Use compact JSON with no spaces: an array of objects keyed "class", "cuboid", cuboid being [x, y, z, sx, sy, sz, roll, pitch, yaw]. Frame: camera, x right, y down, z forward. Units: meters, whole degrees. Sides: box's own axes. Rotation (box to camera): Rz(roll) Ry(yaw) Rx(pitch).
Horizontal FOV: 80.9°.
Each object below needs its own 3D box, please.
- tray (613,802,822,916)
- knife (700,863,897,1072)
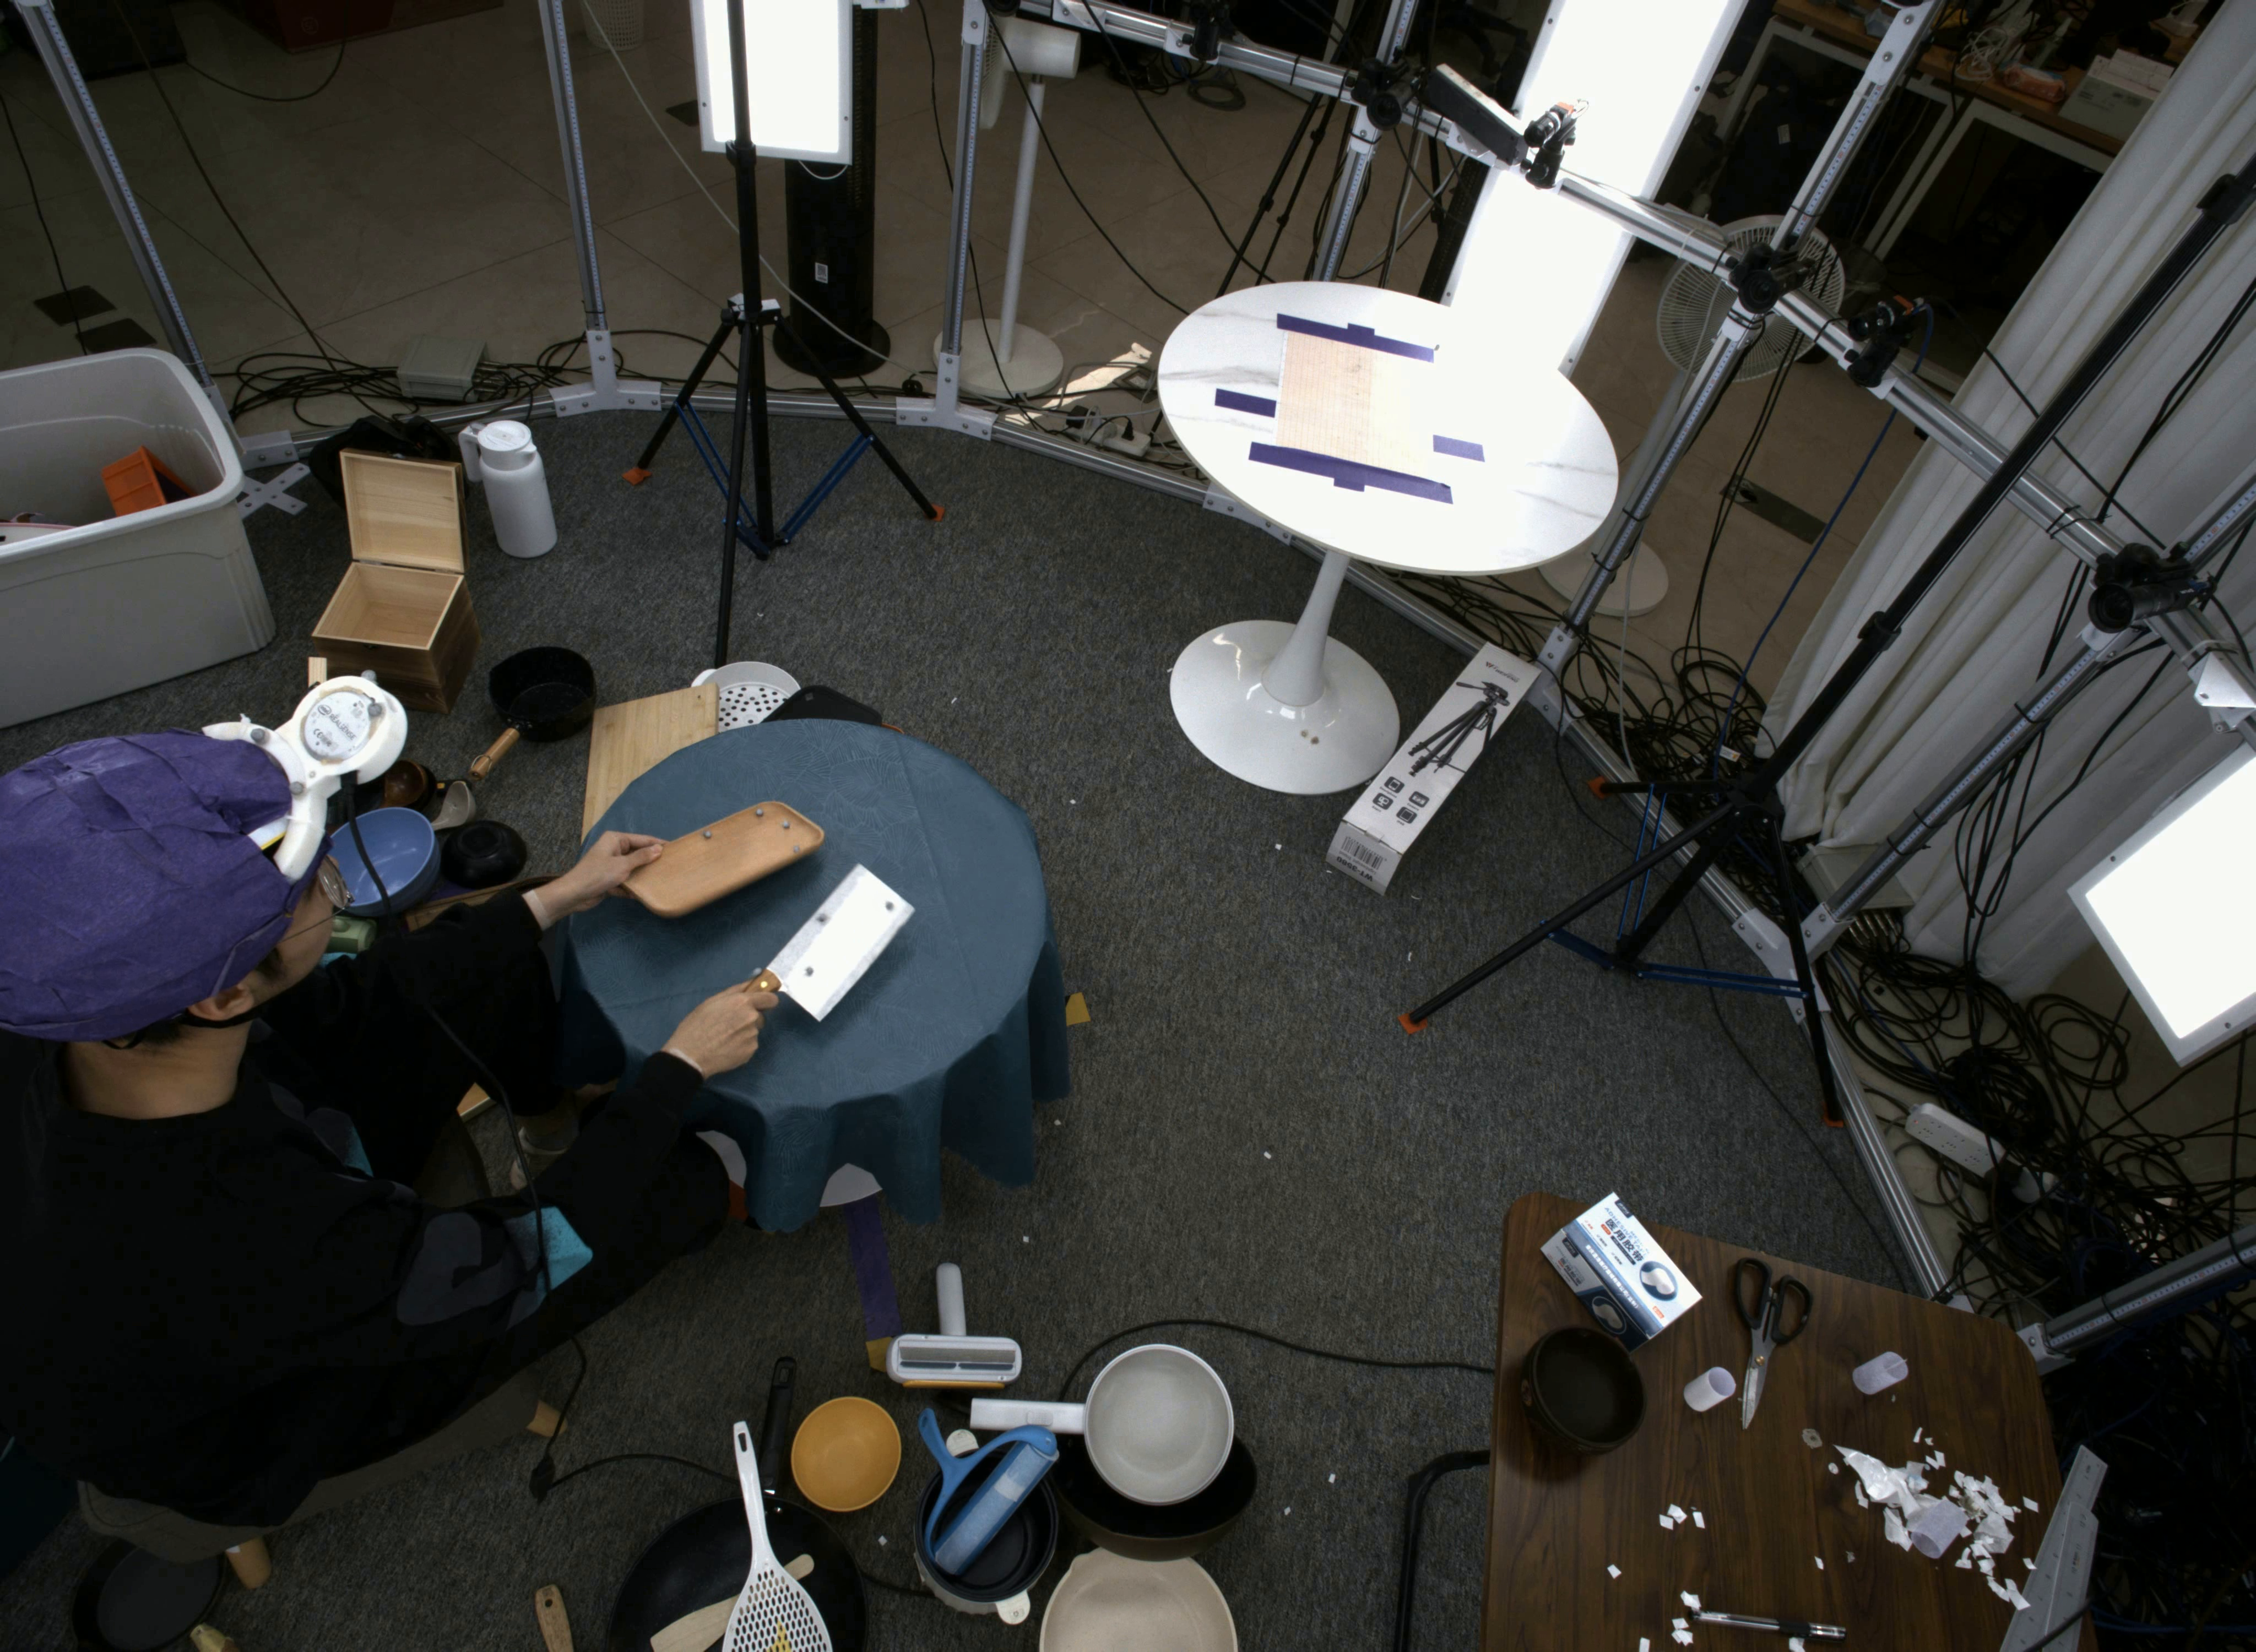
[{"class":"tray","cuboid":[-0.508,0.036,1.603,0.126,0.023,0.252,26,39,35]},{"class":"knife","cuboid":[-0.376,0.172,1.522,0.094,0.021,0.304,40,57,-9]}]
